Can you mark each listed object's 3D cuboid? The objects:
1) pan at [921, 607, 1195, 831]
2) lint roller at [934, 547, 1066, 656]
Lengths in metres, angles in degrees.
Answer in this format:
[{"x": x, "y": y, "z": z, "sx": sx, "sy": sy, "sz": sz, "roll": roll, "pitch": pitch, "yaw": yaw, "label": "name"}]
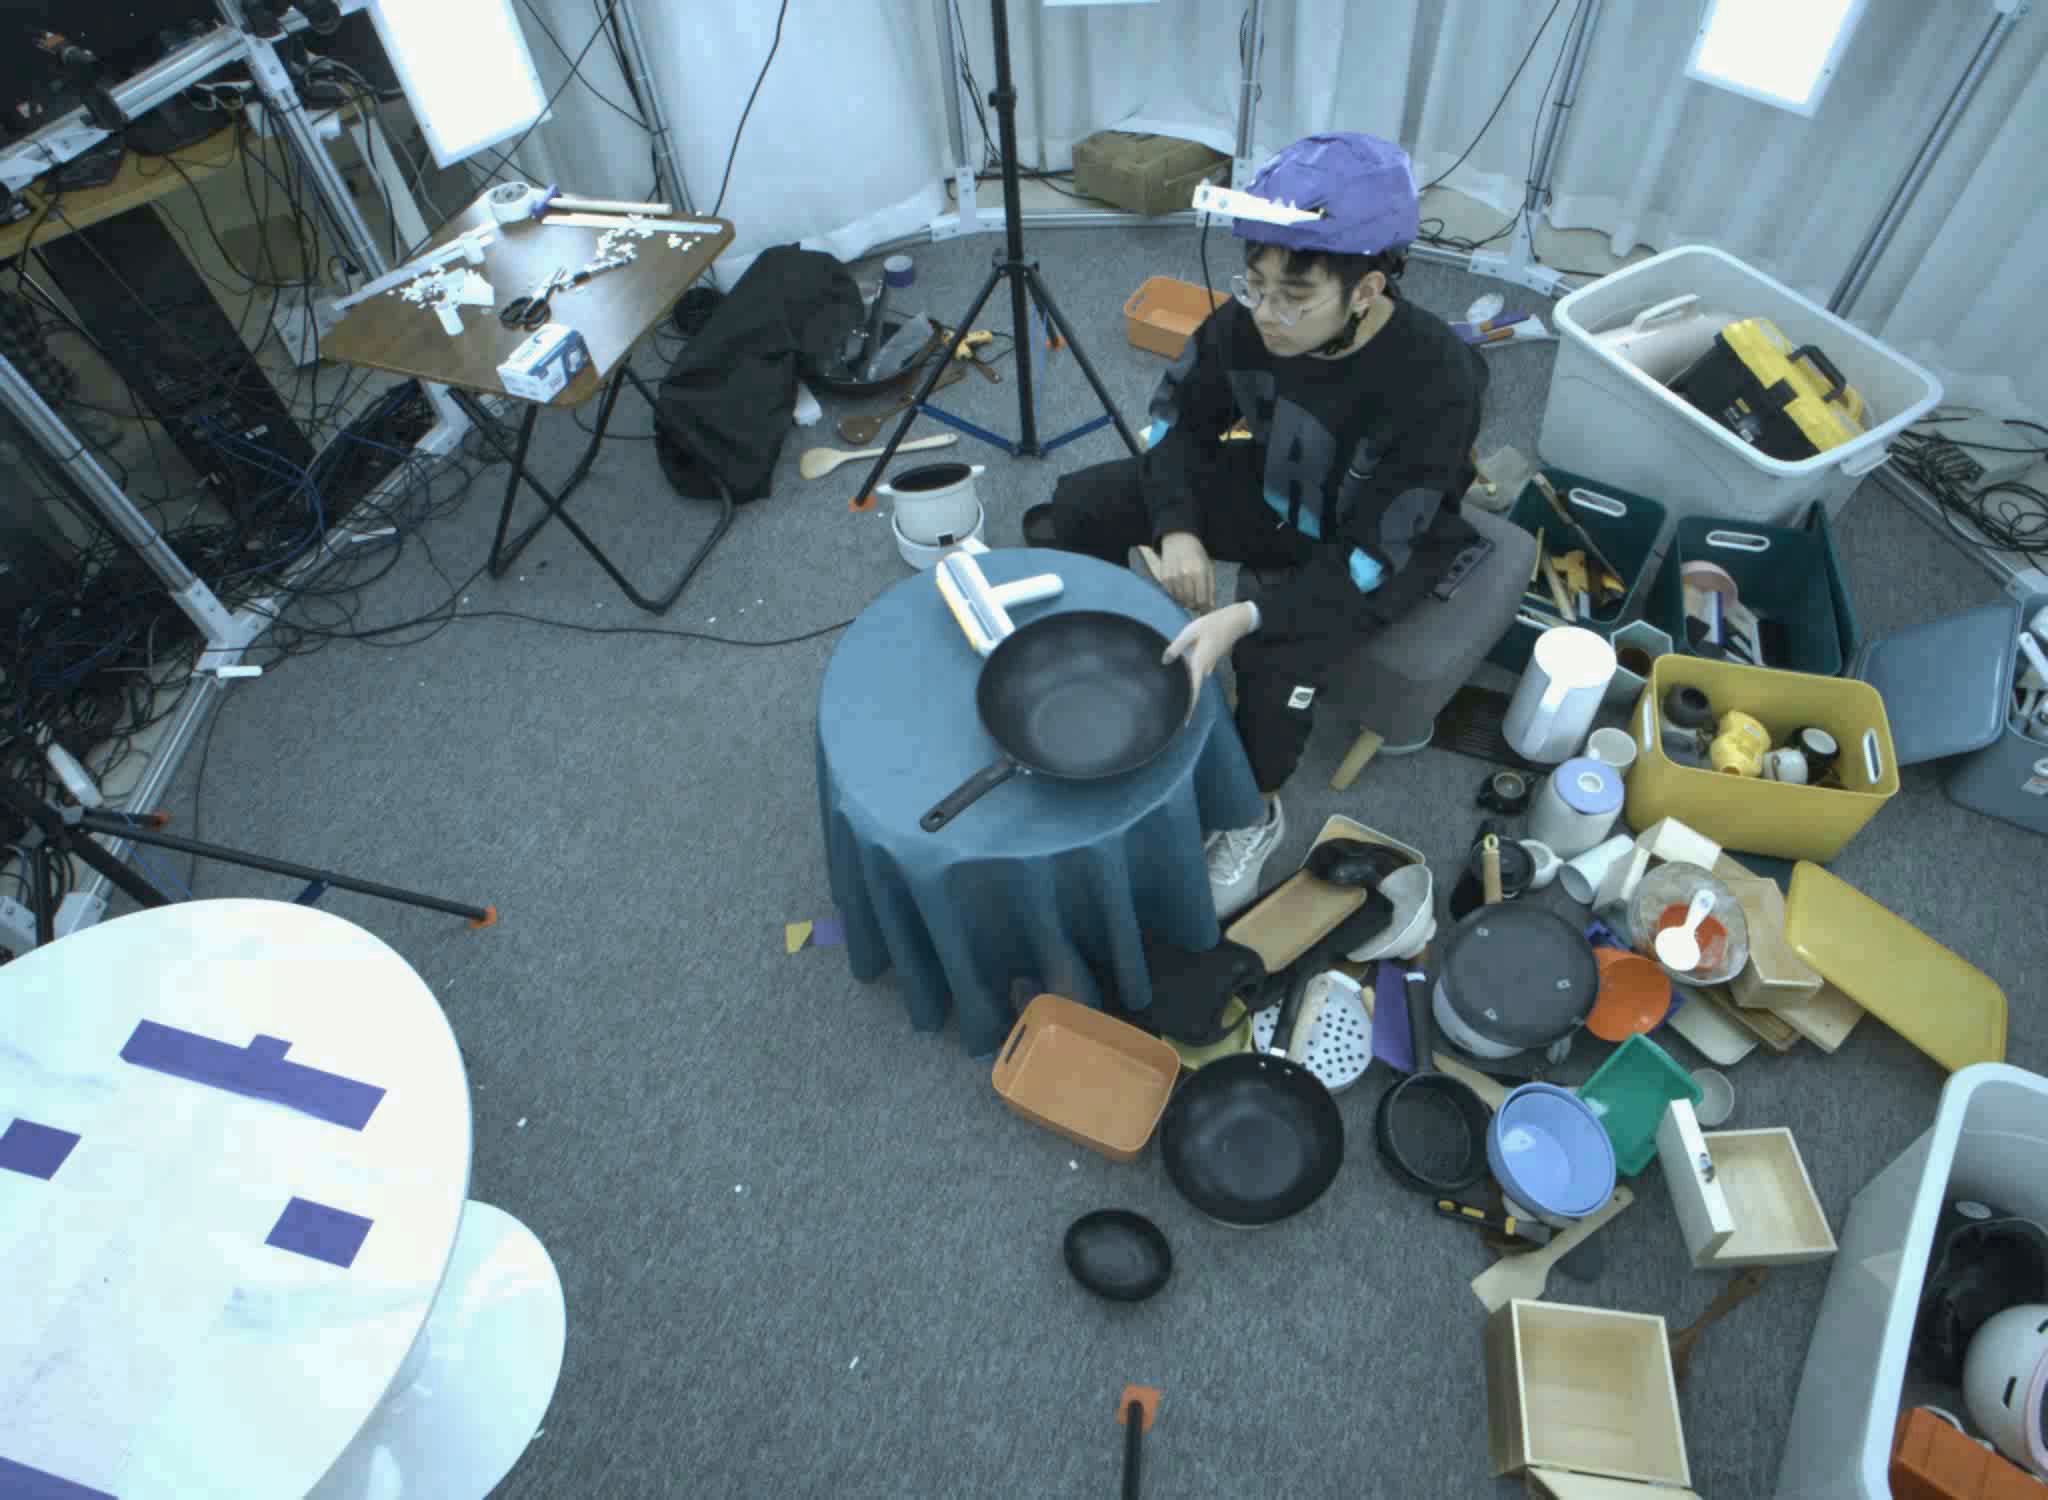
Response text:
[{"x": 0.034, "y": -0.020, "z": 1.730, "sx": 0.304, "sy": 0.113, "sz": 0.480, "roll": 33, "pitch": 62, "yaw": 25, "label": "pan"}, {"x": -0.025, "y": -0.246, "z": 1.917, "sx": 0.194, "sy": 0.075, "sz": 0.190, "roll": -20, "pitch": 62, "yaw": -14, "label": "lint roller"}]
